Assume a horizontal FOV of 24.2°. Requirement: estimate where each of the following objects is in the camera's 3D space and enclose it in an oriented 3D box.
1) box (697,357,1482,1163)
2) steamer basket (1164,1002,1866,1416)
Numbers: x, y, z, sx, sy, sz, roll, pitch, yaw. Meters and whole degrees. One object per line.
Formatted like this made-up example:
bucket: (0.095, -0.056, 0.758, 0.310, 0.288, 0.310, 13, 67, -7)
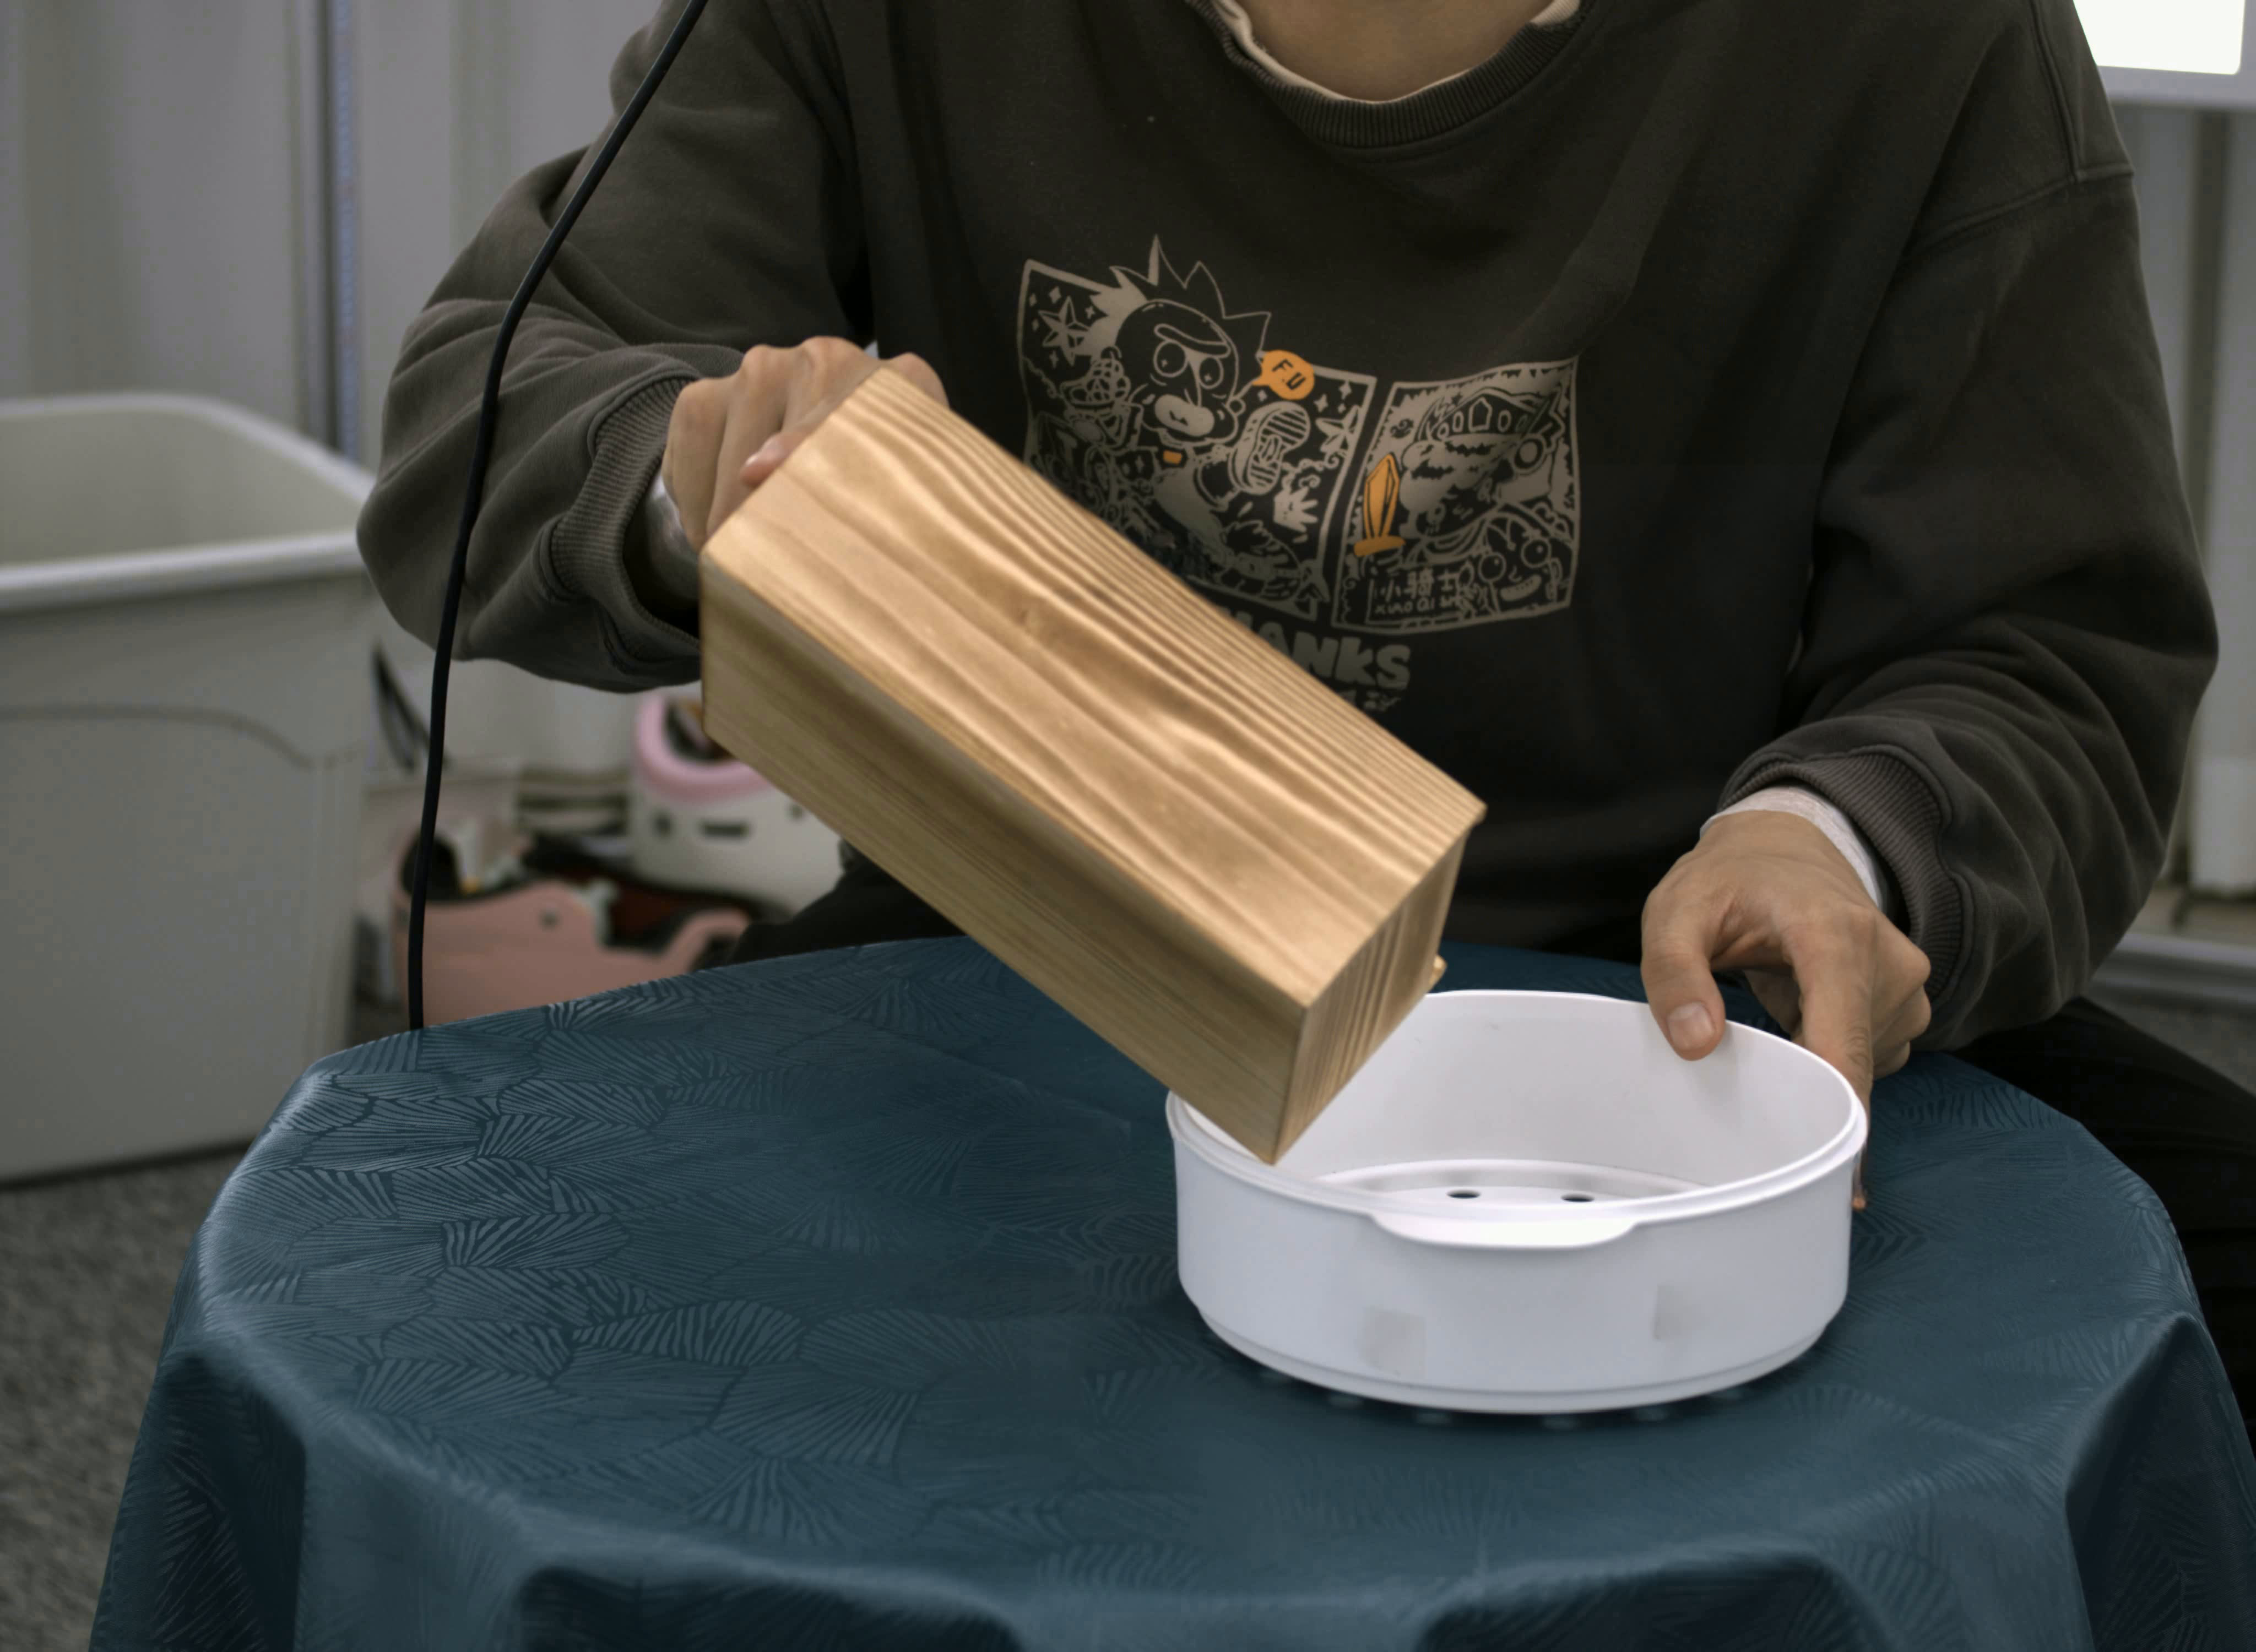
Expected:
box: (-0.014, -0.018, 1.449, 0.210, 0.108, 0.080, 37, 66, 13)
steamer basket: (0.110, 0.109, 1.518, 0.201, 0.070, 0.230, 2, 15, 5)
